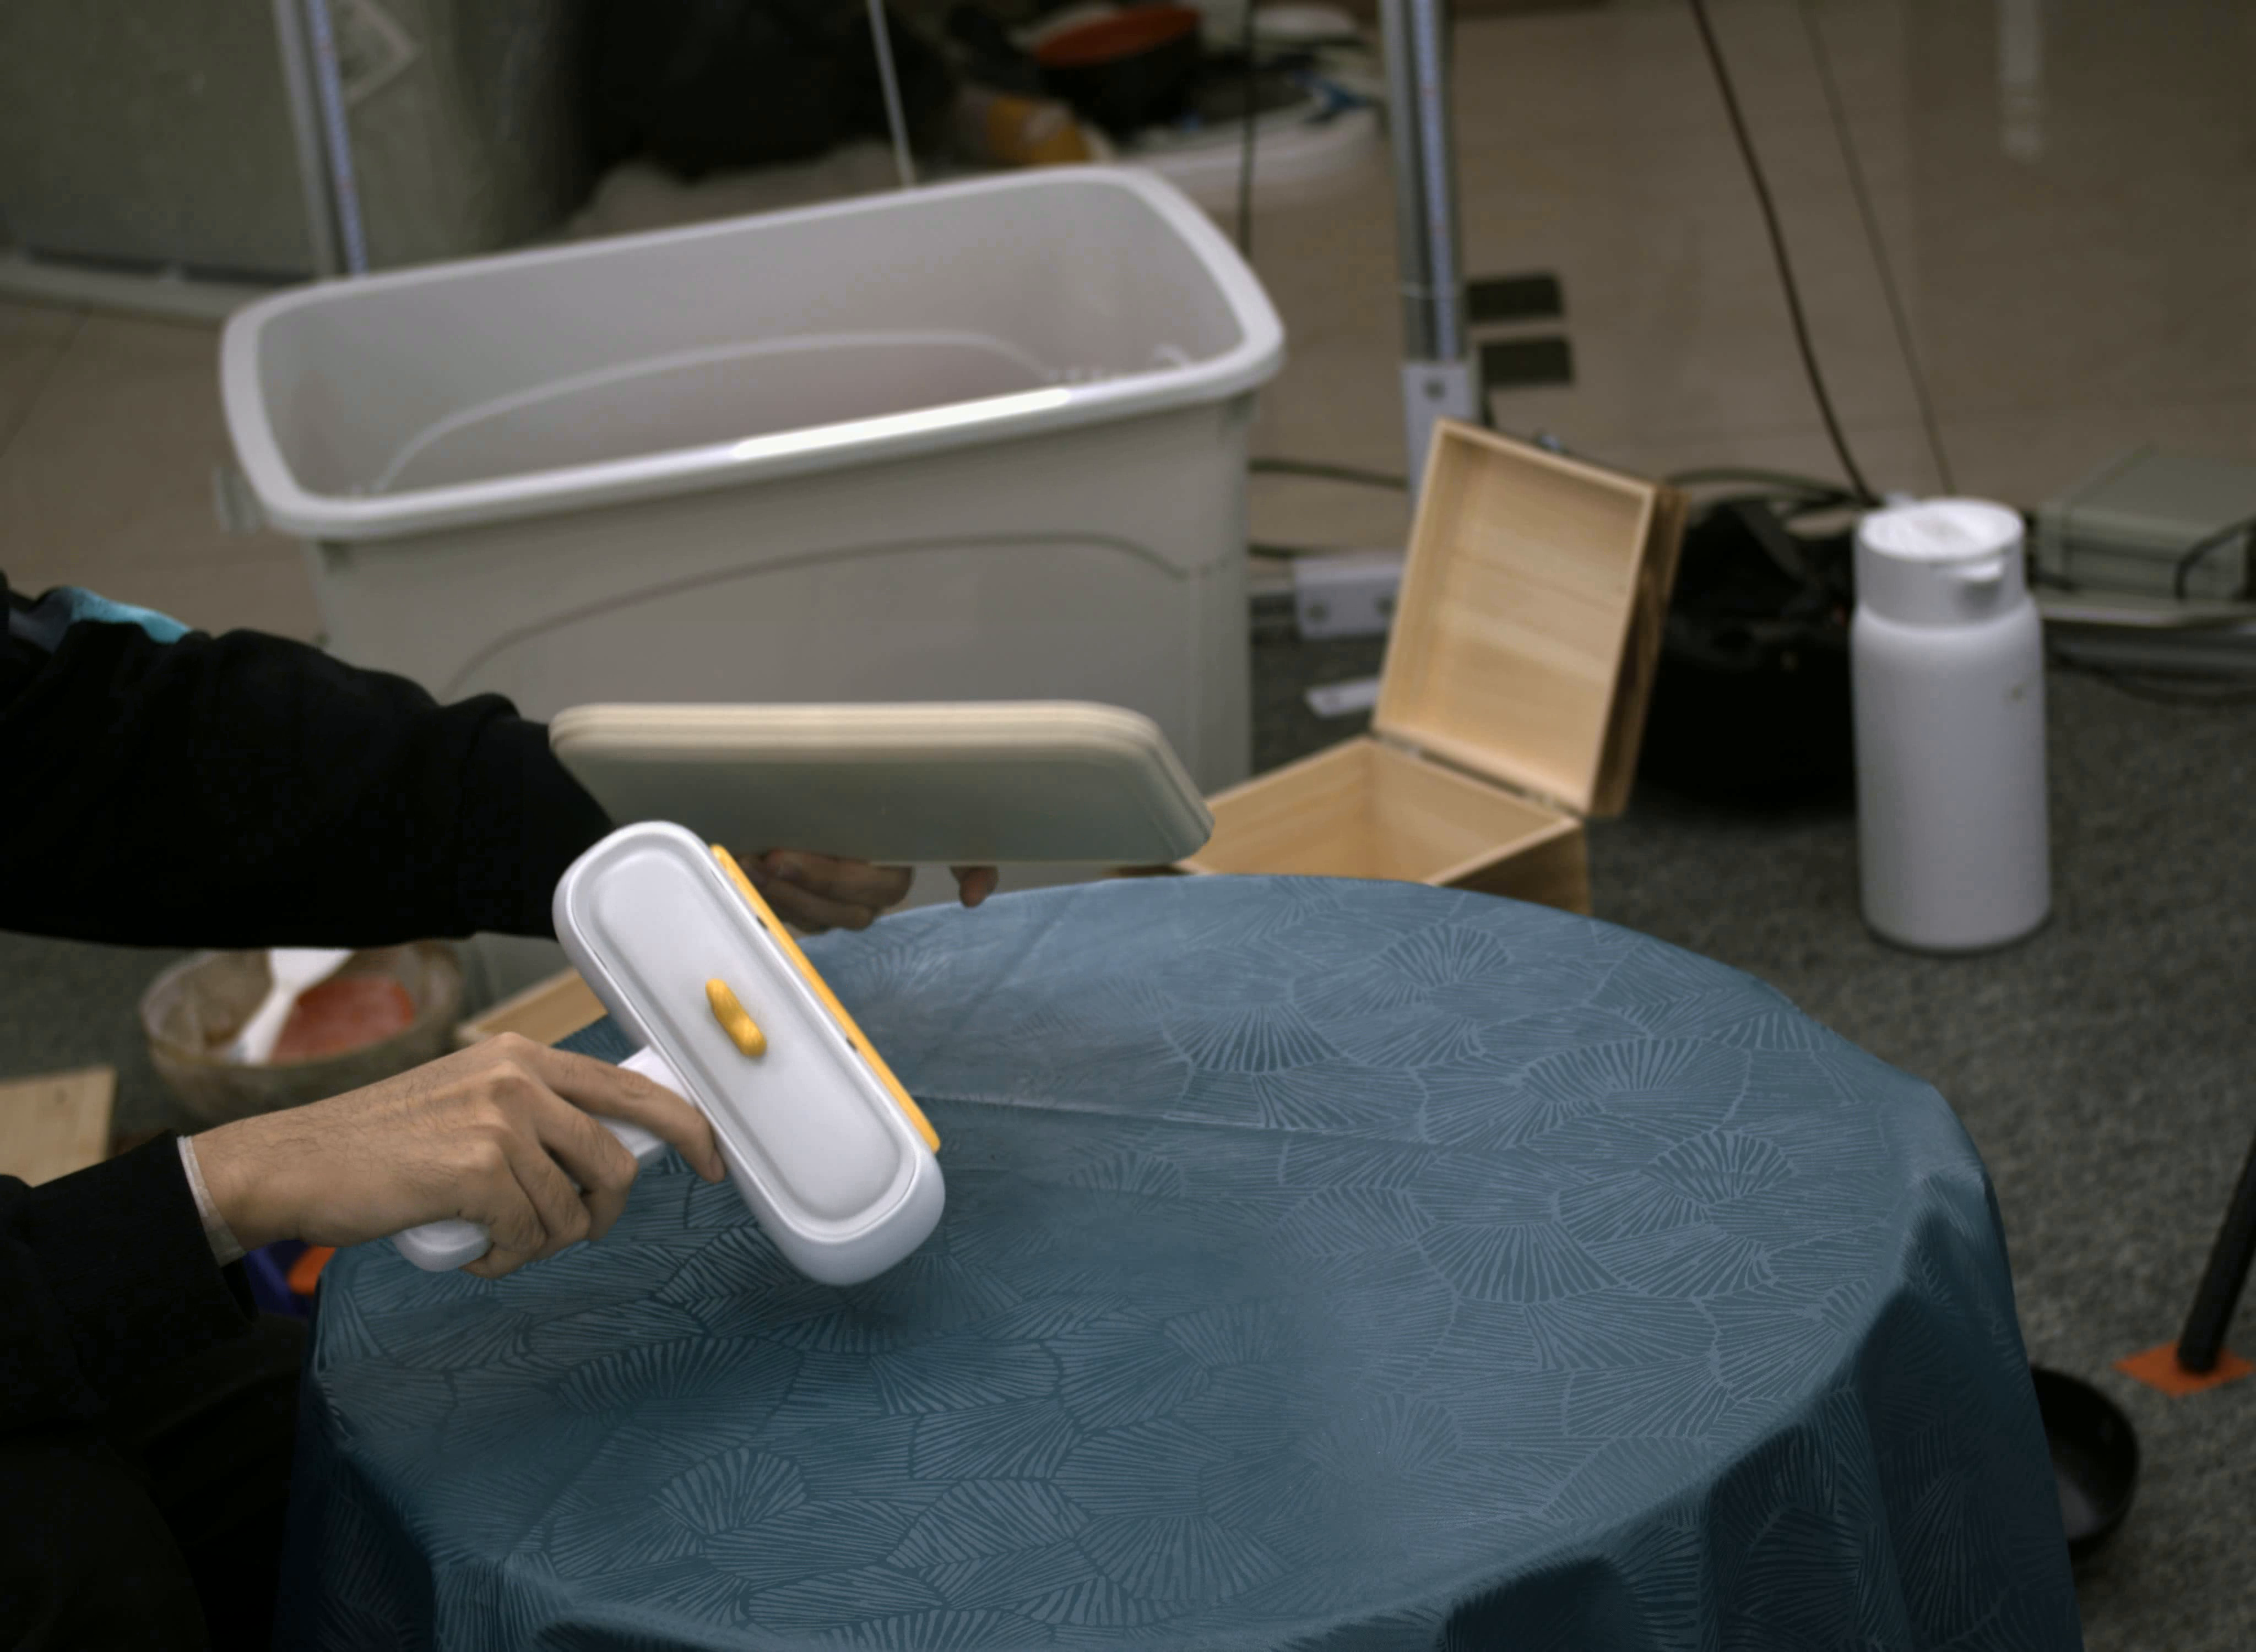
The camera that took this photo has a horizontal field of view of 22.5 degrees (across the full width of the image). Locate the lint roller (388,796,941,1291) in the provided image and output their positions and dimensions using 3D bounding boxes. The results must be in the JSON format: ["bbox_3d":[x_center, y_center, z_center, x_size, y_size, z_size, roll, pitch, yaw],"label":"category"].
[{"bbox_3d":[-0.187,0.103,2.046,0.191,0.192,0.075,-37,-8,-19],"label":"lint roller"}]

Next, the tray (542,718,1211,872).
[{"bbox_3d":[-0.096,-0.009,2.181,0.239,0.017,0.173,0,-15,13],"label":"tray"}]
